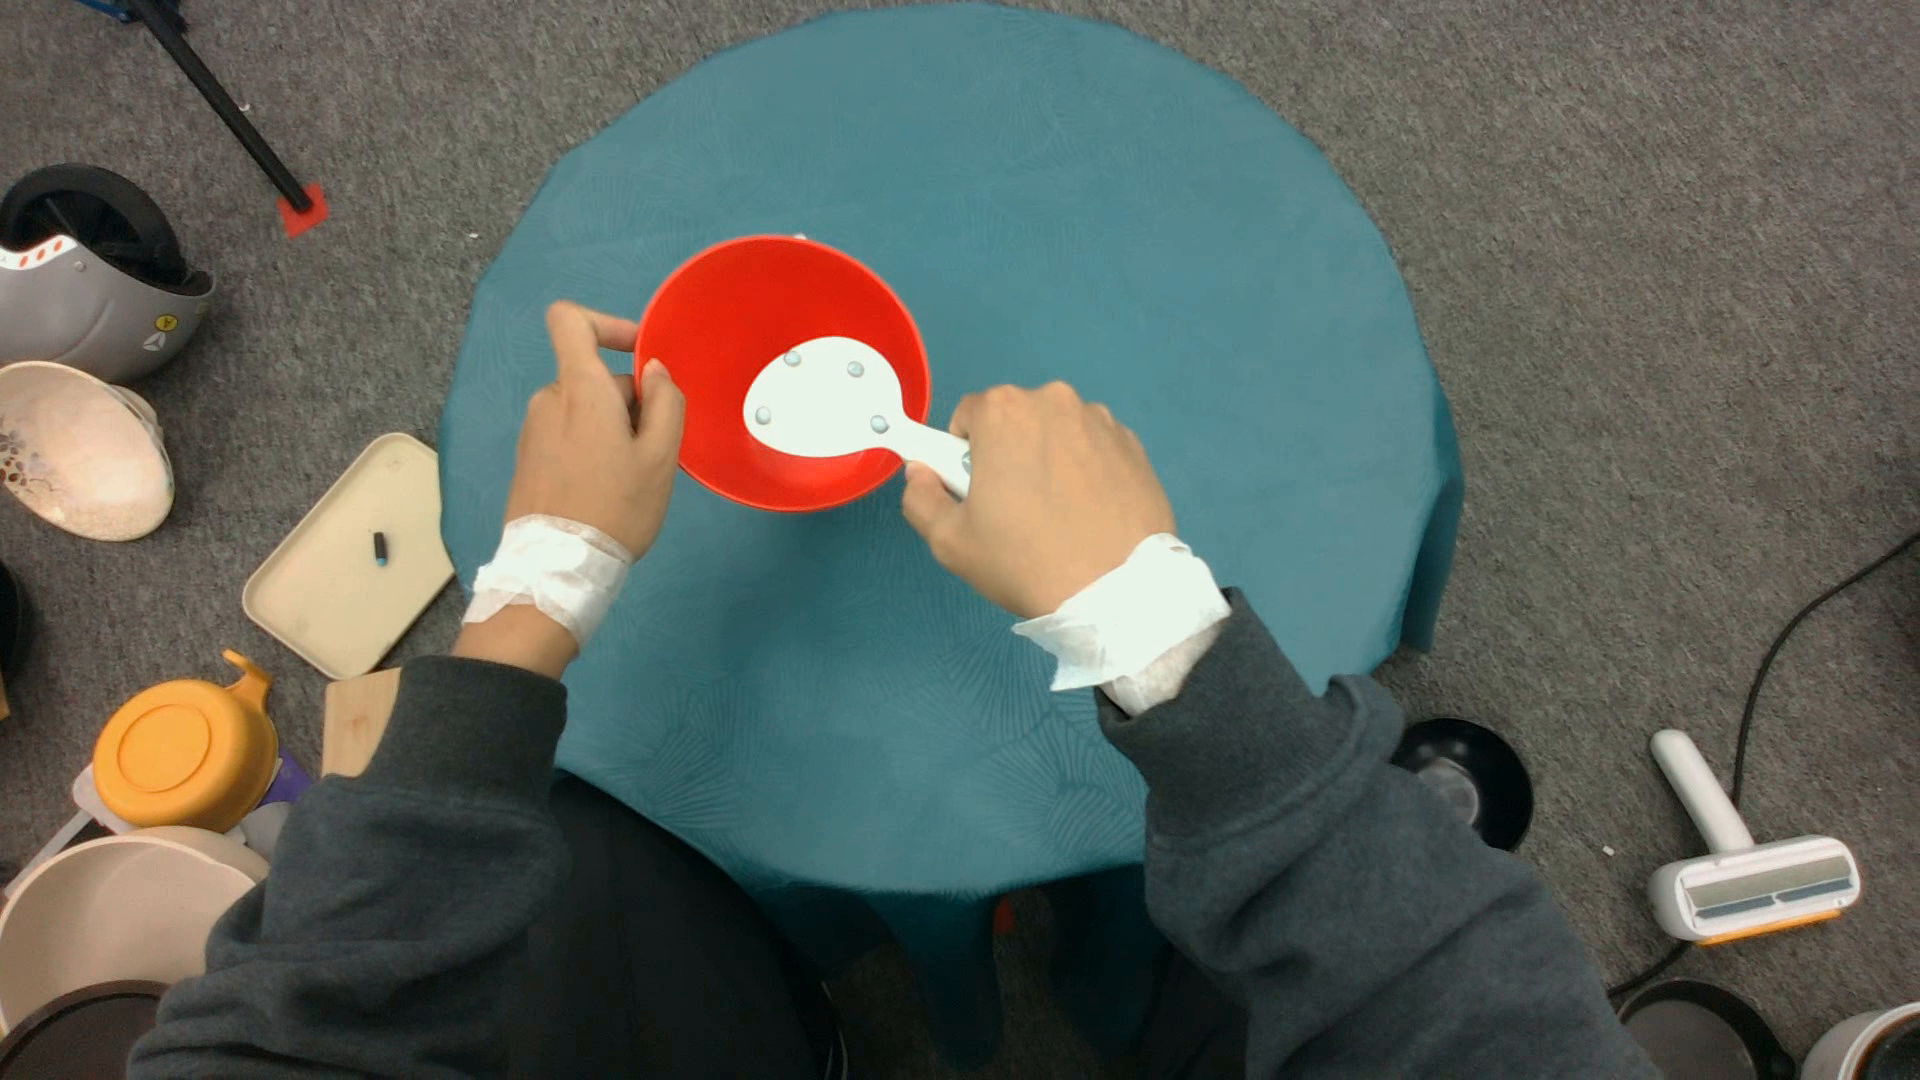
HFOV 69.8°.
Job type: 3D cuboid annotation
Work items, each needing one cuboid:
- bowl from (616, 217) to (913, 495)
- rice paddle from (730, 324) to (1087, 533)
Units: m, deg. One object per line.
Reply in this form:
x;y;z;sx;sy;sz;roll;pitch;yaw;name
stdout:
-0.101;-0.084;0.728;0.148;0.104;0.148;2;73;-8;bowl
-0.032;-0.054;0.602;0.205;0.029;0.069;27;68;38;rice paddle
